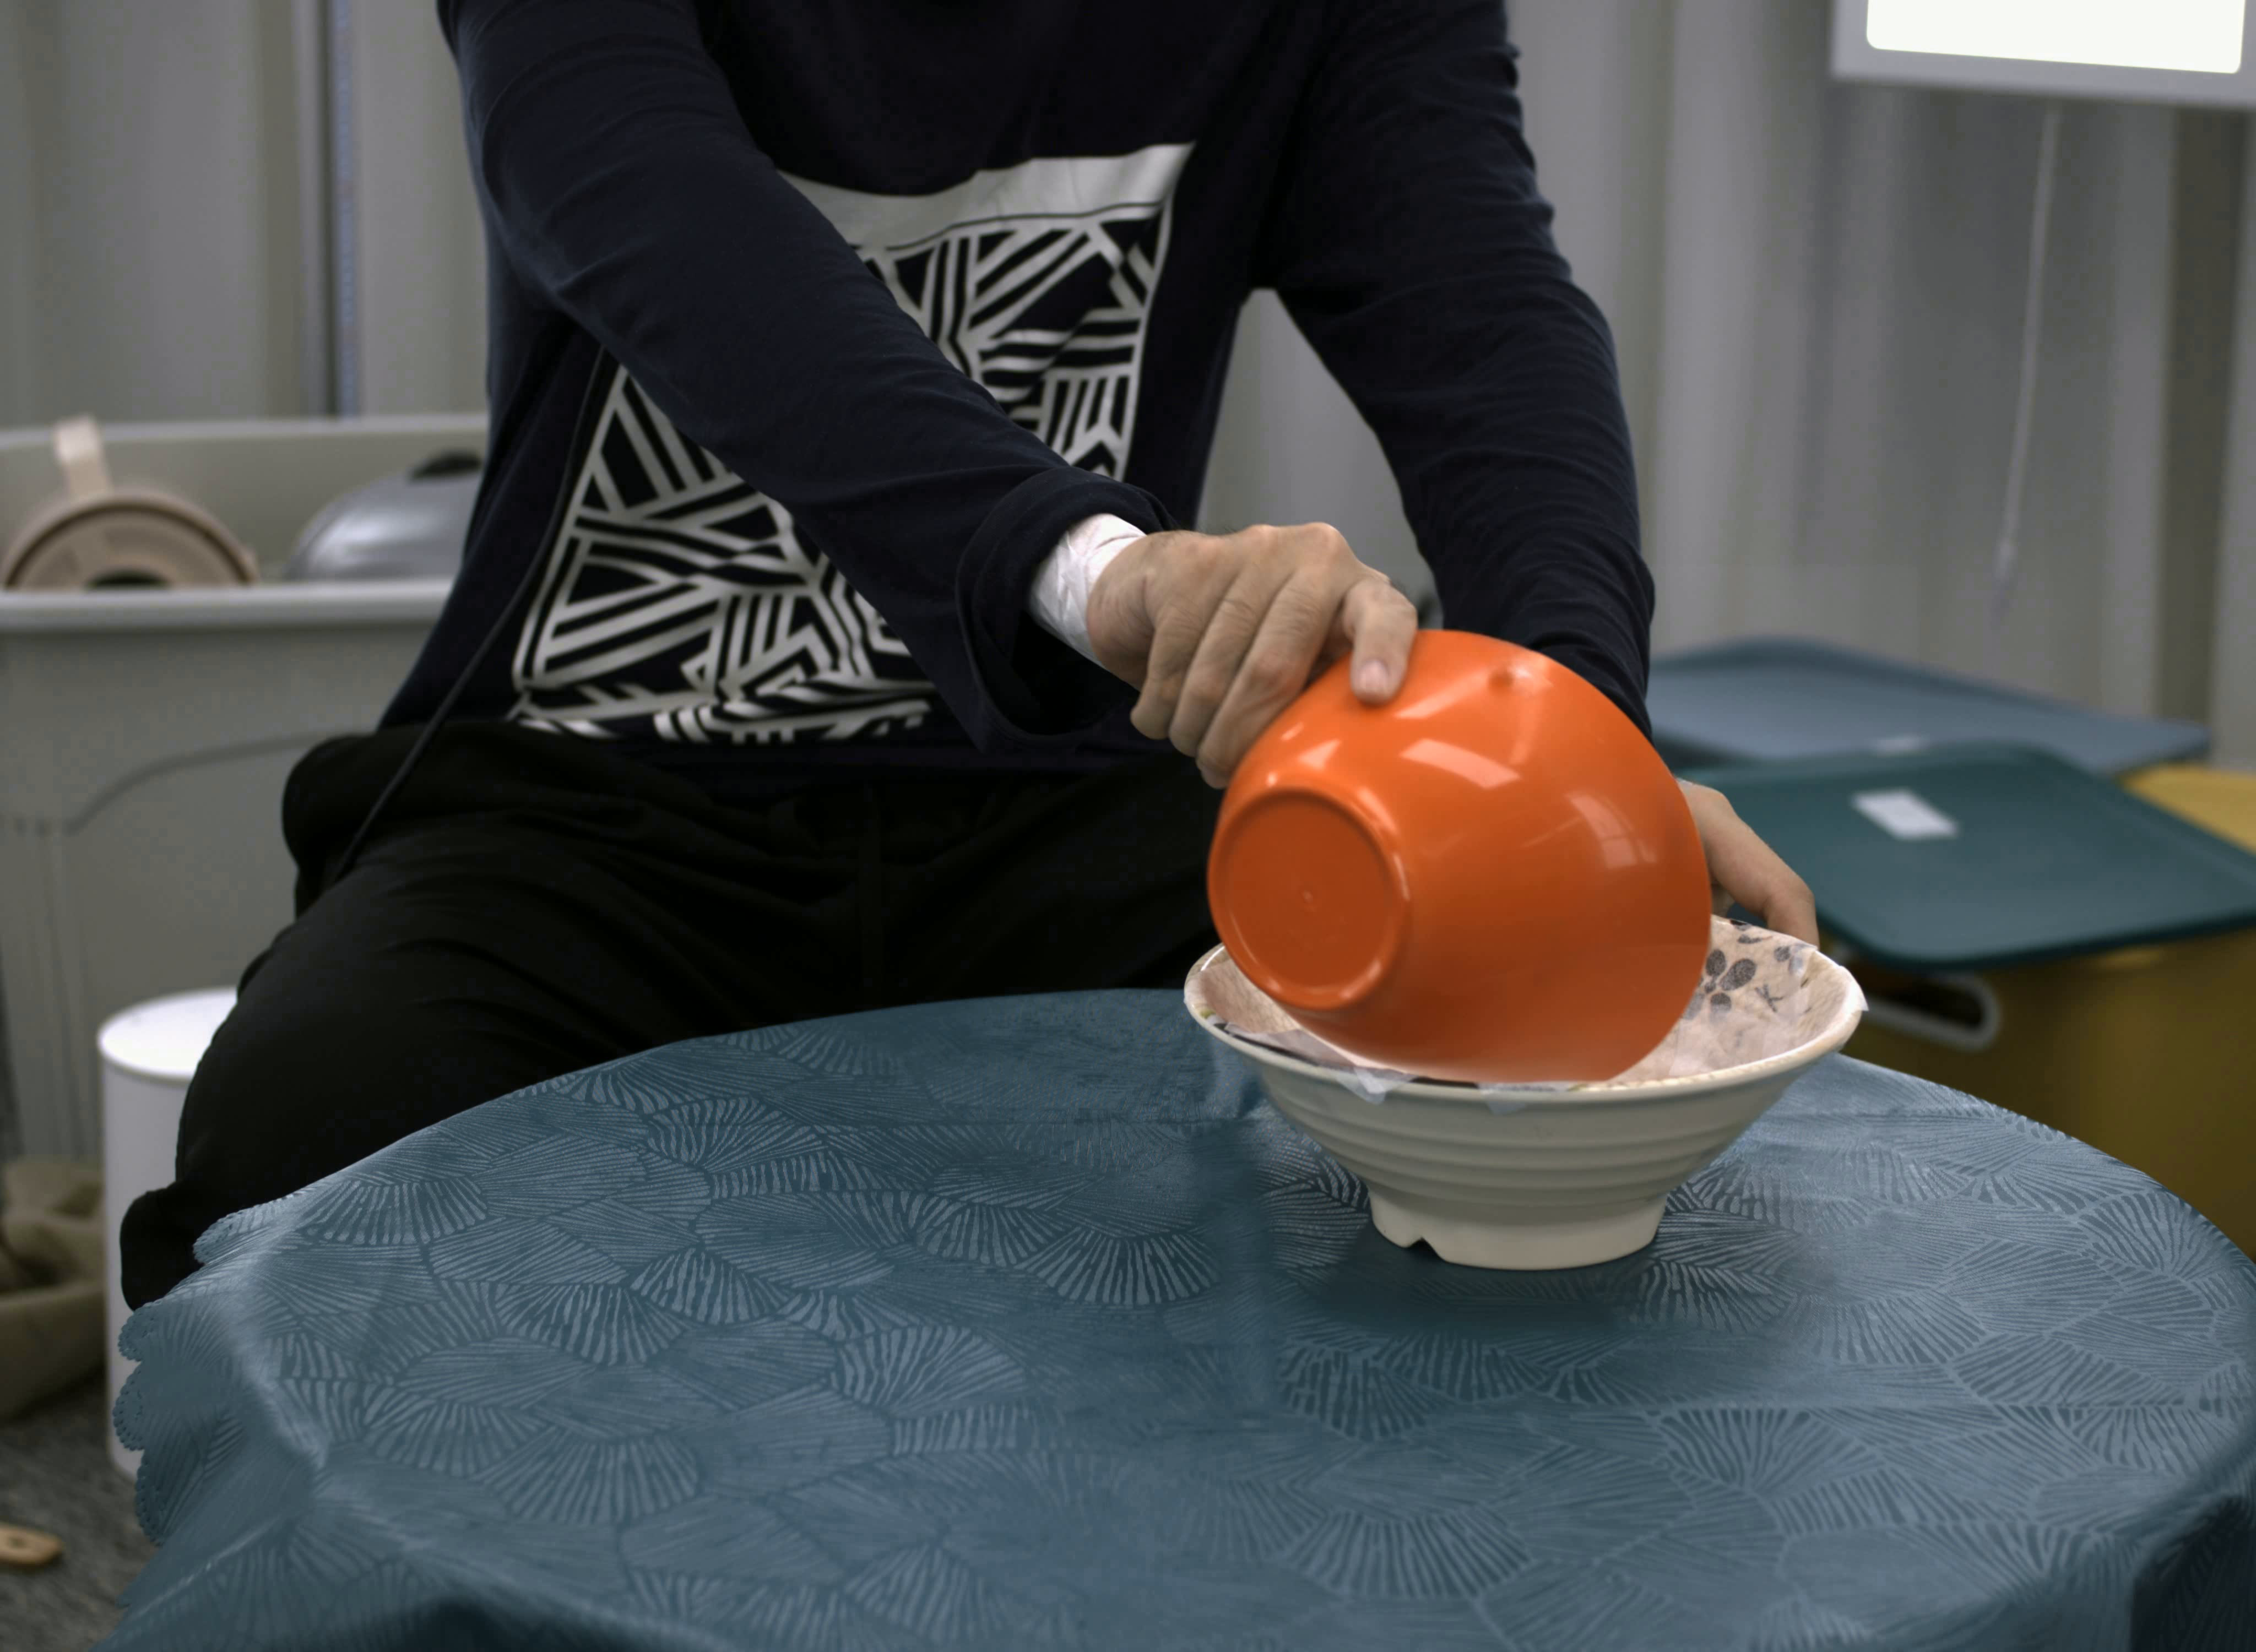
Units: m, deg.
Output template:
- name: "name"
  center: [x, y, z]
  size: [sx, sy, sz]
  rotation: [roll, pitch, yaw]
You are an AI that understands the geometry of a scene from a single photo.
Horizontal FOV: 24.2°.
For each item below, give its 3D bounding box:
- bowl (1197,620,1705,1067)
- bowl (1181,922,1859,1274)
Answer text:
- name: "bowl"
  center: [0.080, 0.018, 1.519]
  size: [0.146, 0.149, 0.105]
  rotation: [11, 19, 33]
- name: "bowl"
  center: [0.116, 0.084, 1.586]
  size: [0.203, 0.078, 0.203]
  rotation: [2, 14, 0]
